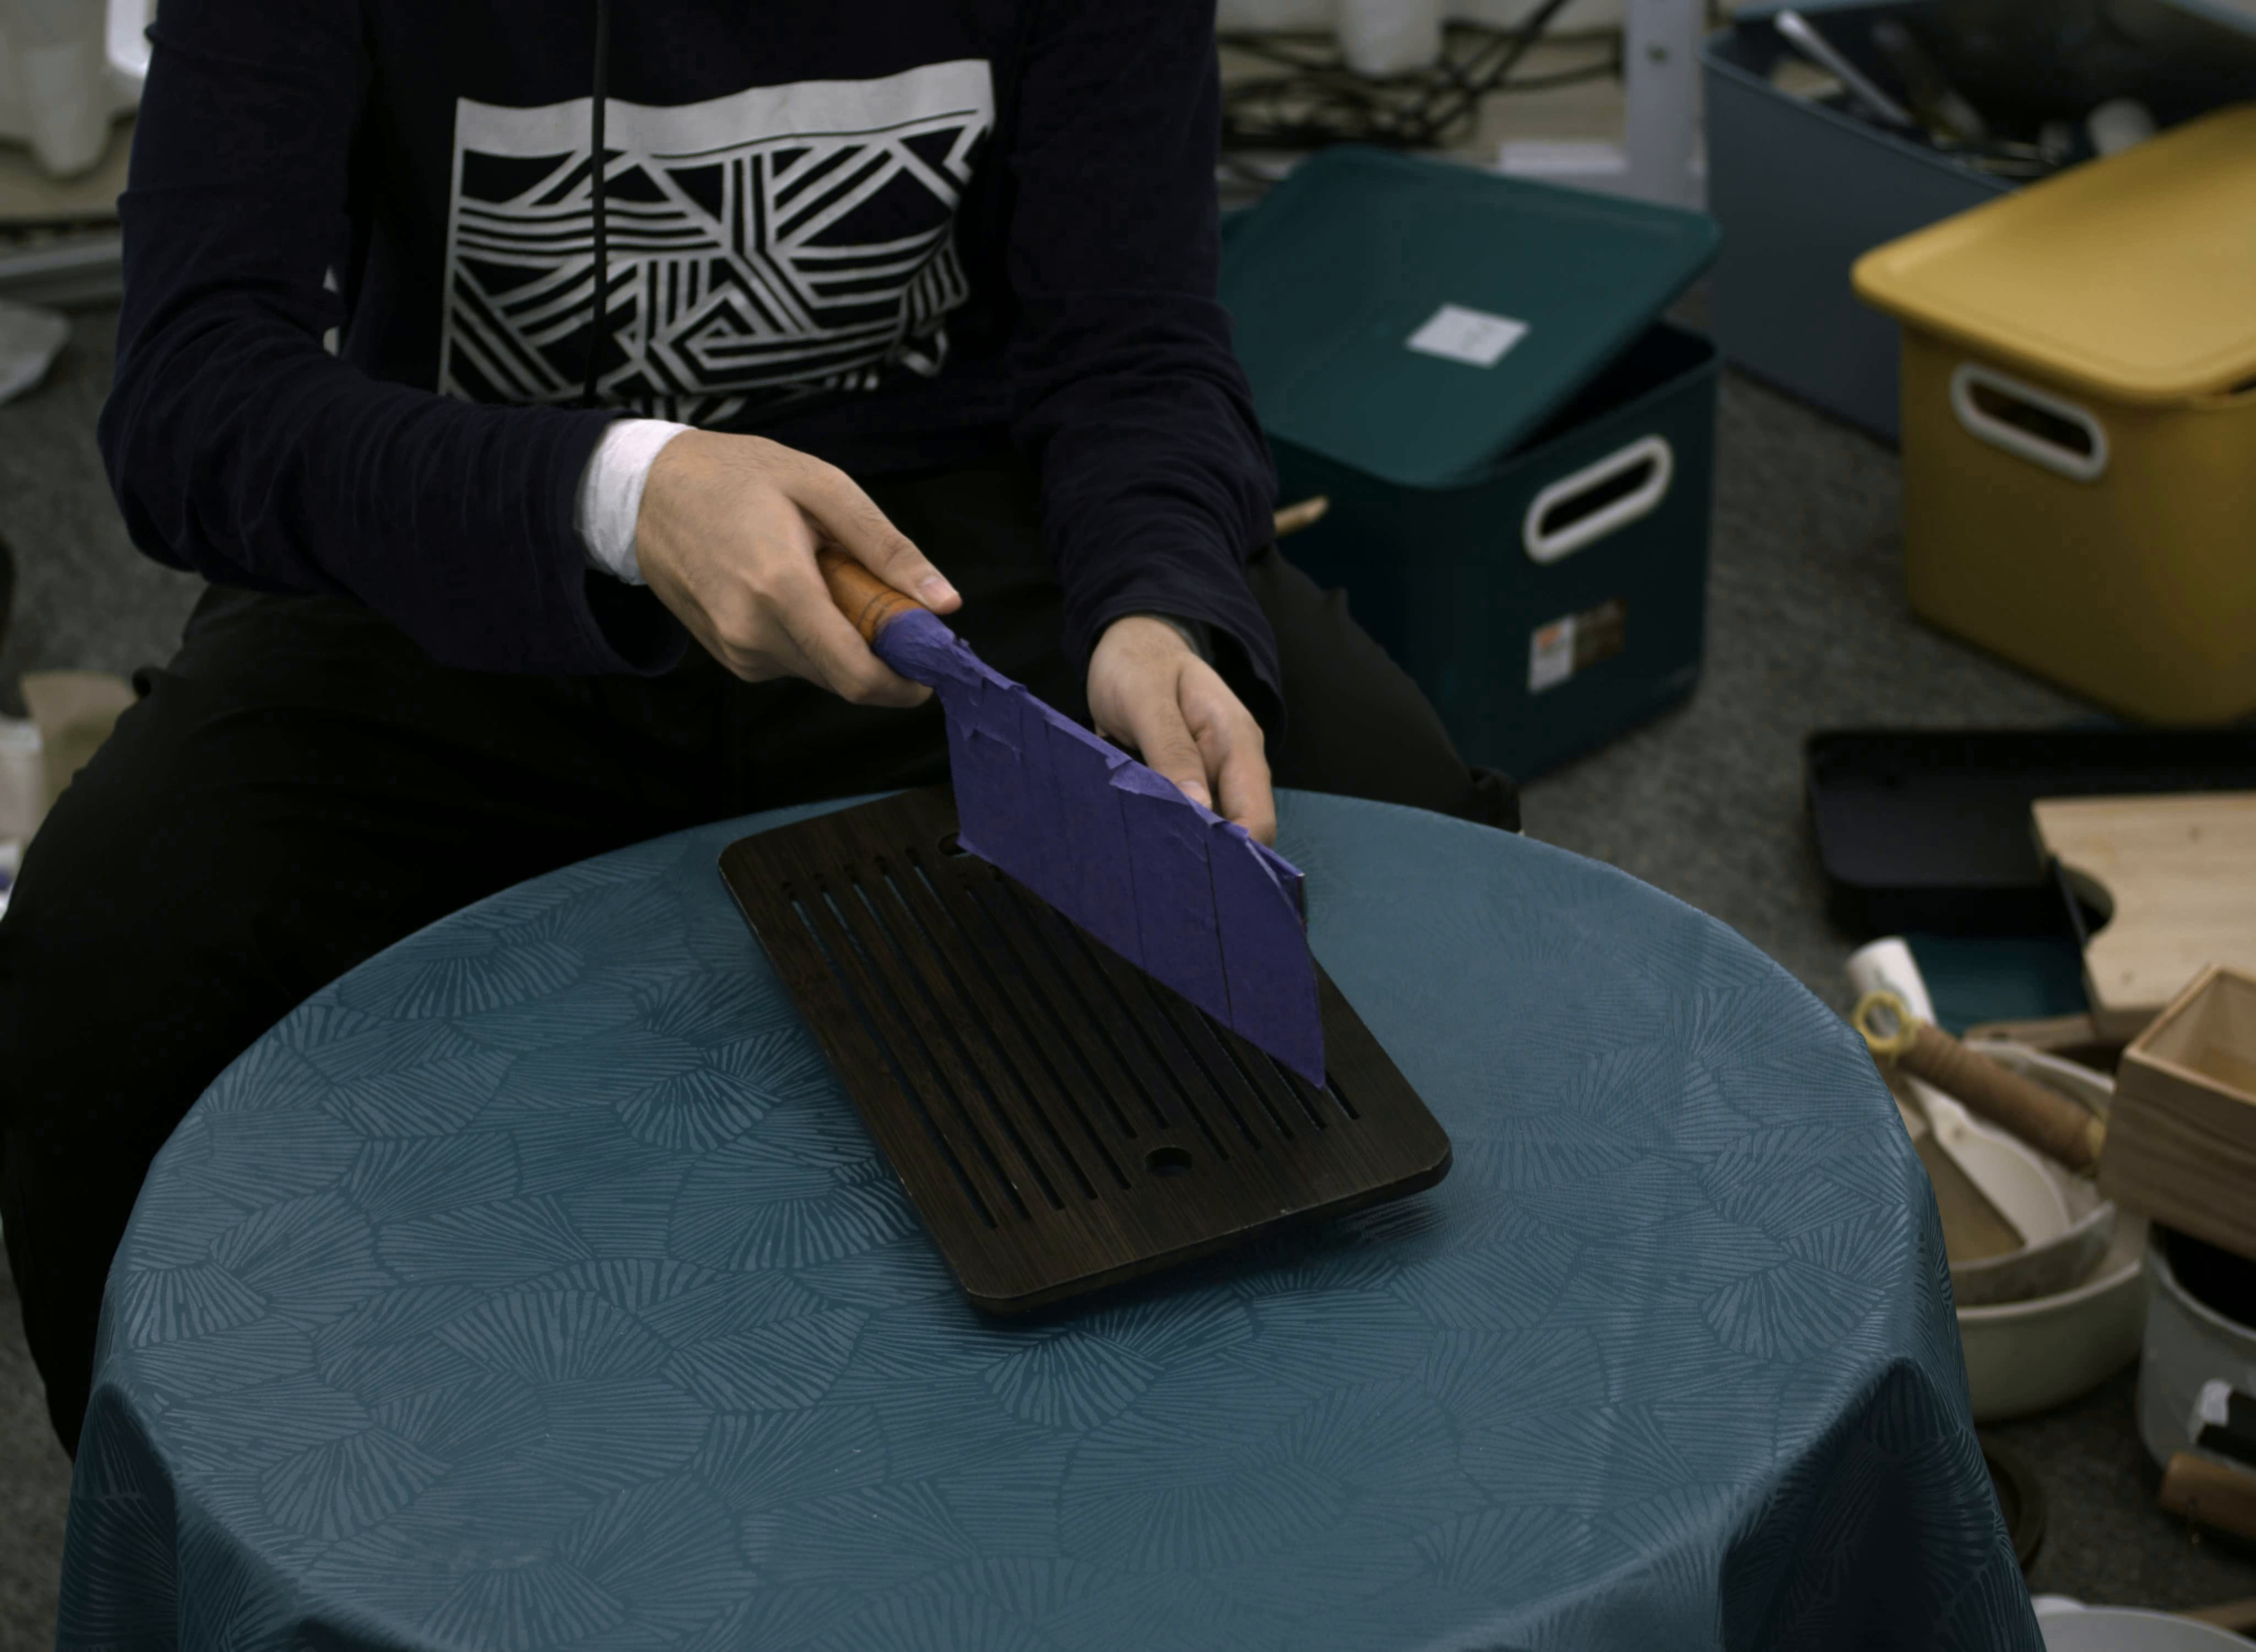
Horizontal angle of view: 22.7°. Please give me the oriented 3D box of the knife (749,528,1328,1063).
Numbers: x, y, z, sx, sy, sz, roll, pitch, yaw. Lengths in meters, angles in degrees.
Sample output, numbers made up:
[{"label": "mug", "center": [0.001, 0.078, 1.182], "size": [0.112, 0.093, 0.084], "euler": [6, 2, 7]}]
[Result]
[{"label": "knife", "center": [-0.034, -0.009, 1.938], "size": [0.032, 0.102, 0.316], "euler": [-23, 35, -27]}]

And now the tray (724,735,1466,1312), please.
[{"label": "tray", "center": [-0.017, 0.064, 1.926], "size": [0.170, 0.018, 0.309], "euler": [-16, 33, -14]}]
